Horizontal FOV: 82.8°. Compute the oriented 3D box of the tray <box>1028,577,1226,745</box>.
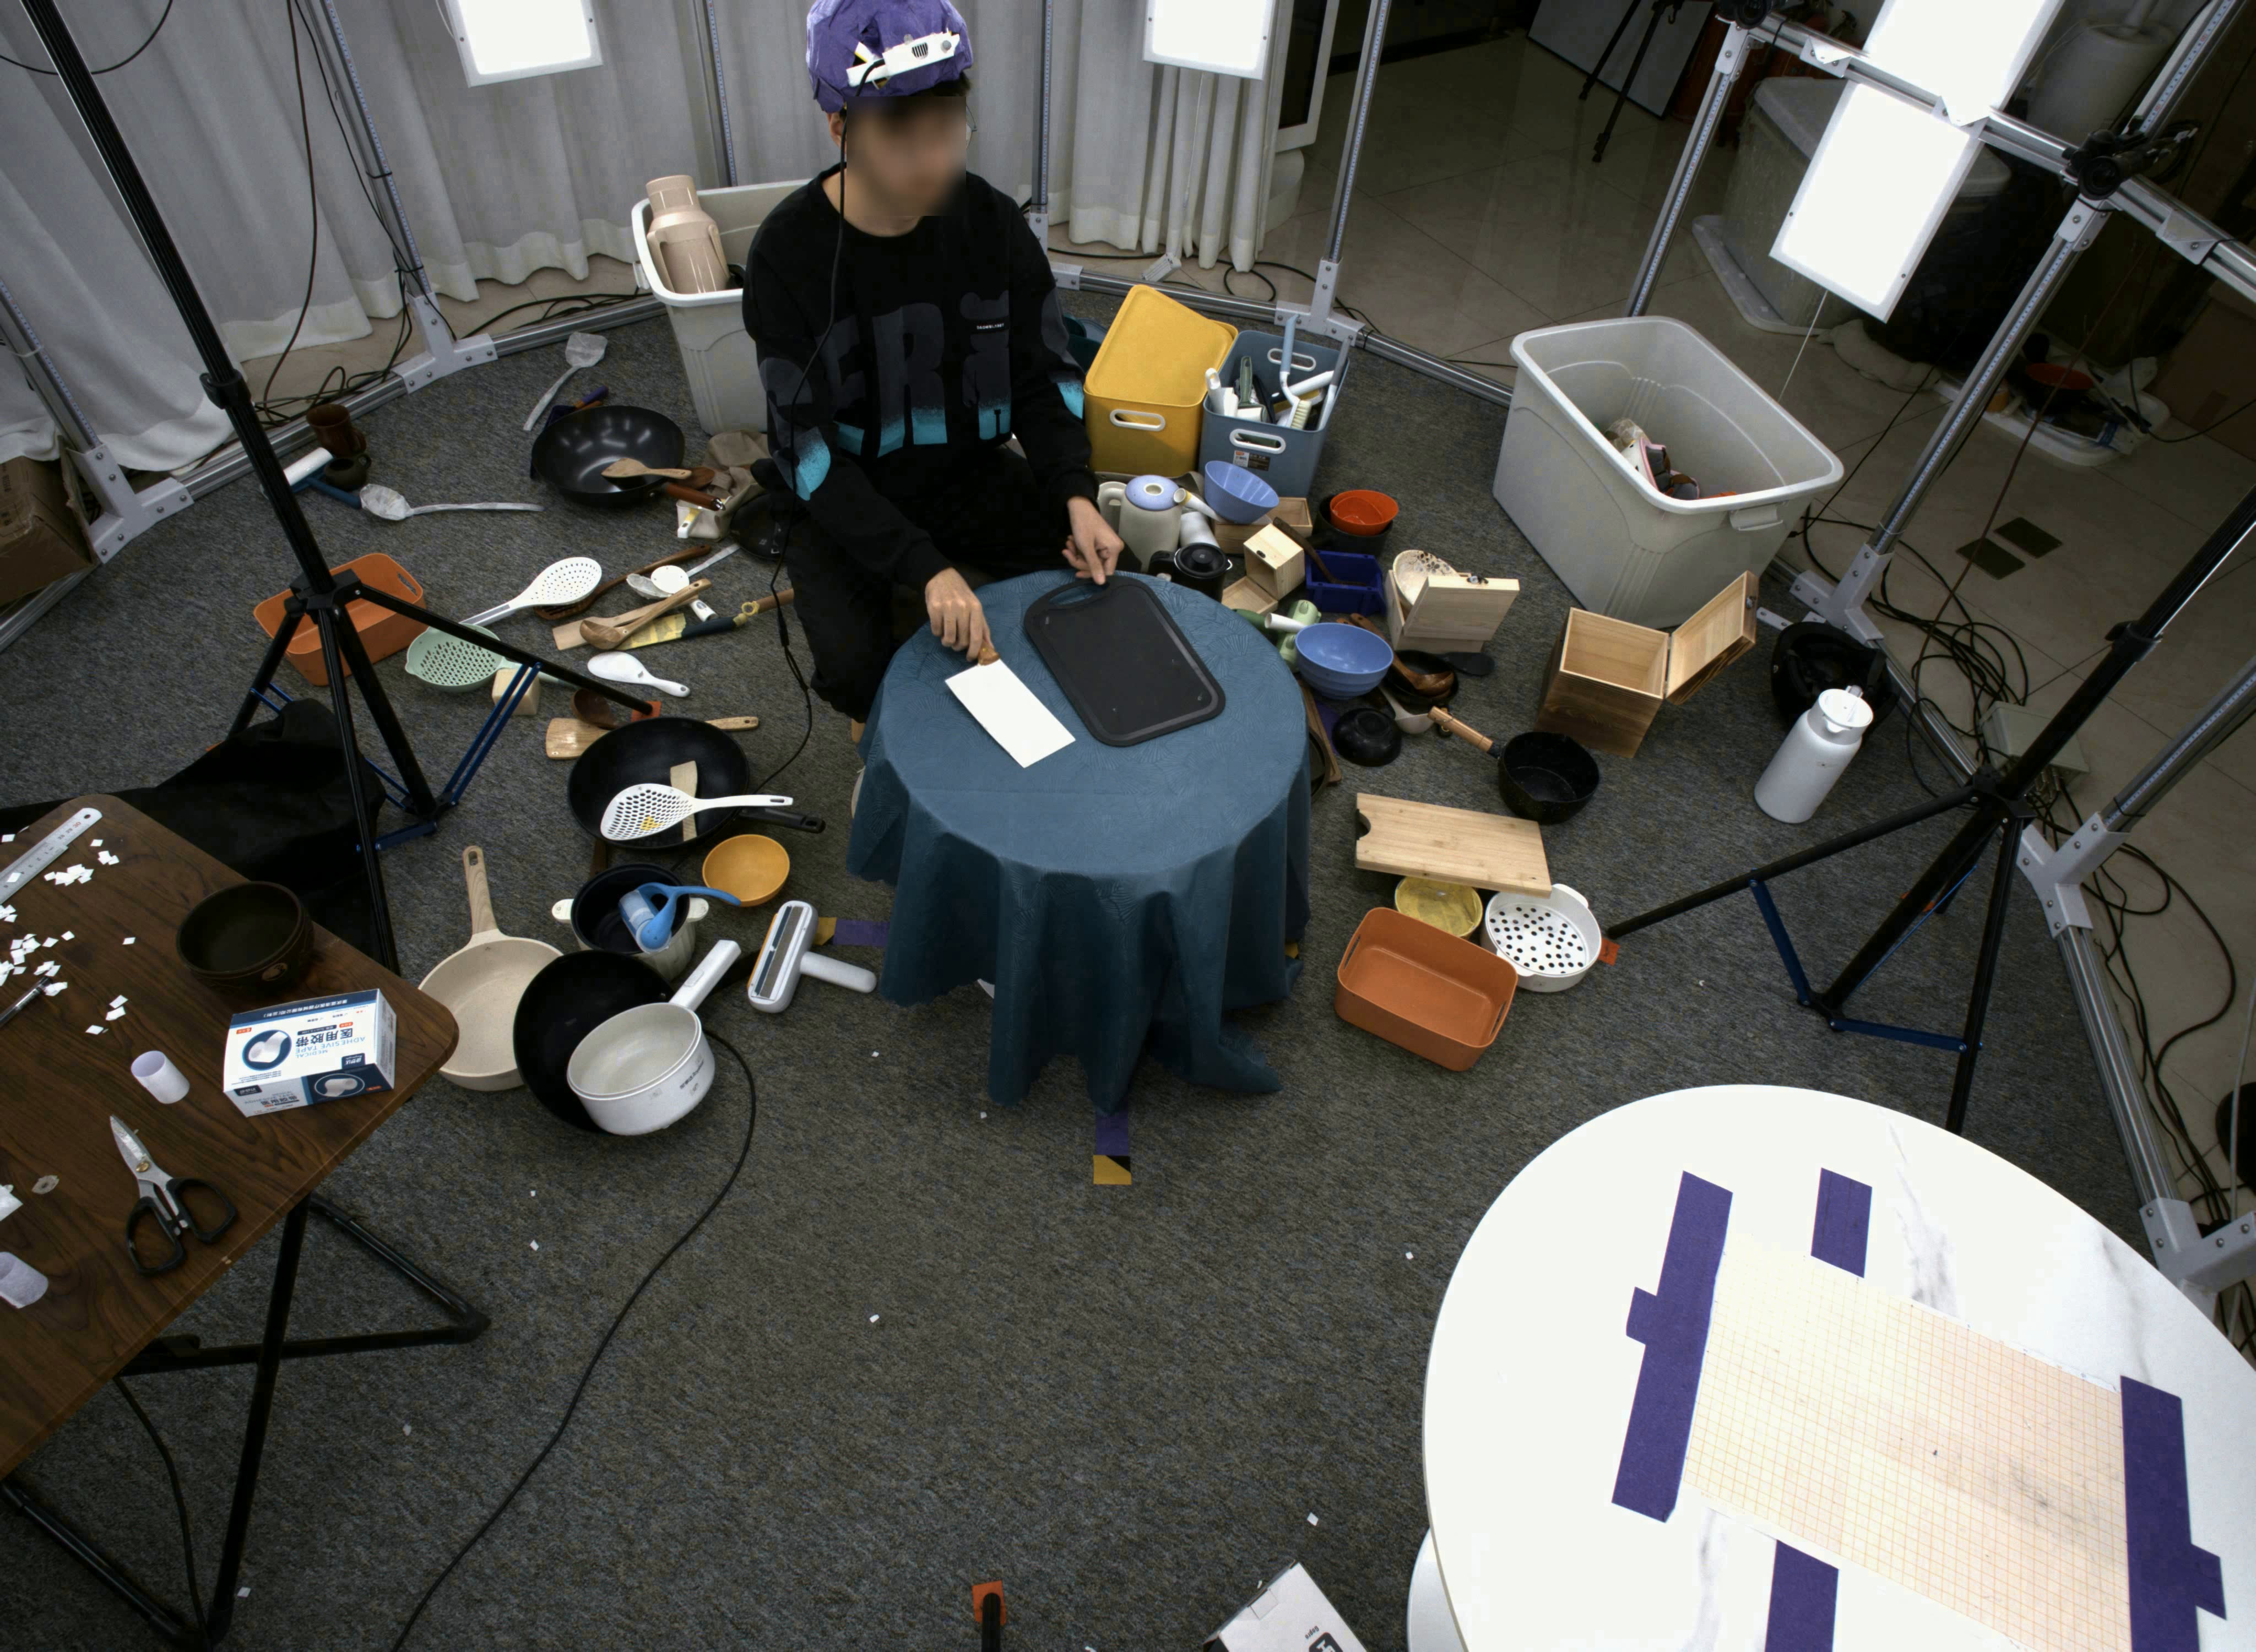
[{"bbox_3d":[-0.009,-0.252,1.873,0.211,0.009,0.332,-19,55,-18],"label":"tray"}]

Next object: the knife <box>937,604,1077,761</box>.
[{"bbox_3d":[-0.194,-0.202,1.812,0.093,0.020,0.311,-29,62,-25],"label":"knife"}]
